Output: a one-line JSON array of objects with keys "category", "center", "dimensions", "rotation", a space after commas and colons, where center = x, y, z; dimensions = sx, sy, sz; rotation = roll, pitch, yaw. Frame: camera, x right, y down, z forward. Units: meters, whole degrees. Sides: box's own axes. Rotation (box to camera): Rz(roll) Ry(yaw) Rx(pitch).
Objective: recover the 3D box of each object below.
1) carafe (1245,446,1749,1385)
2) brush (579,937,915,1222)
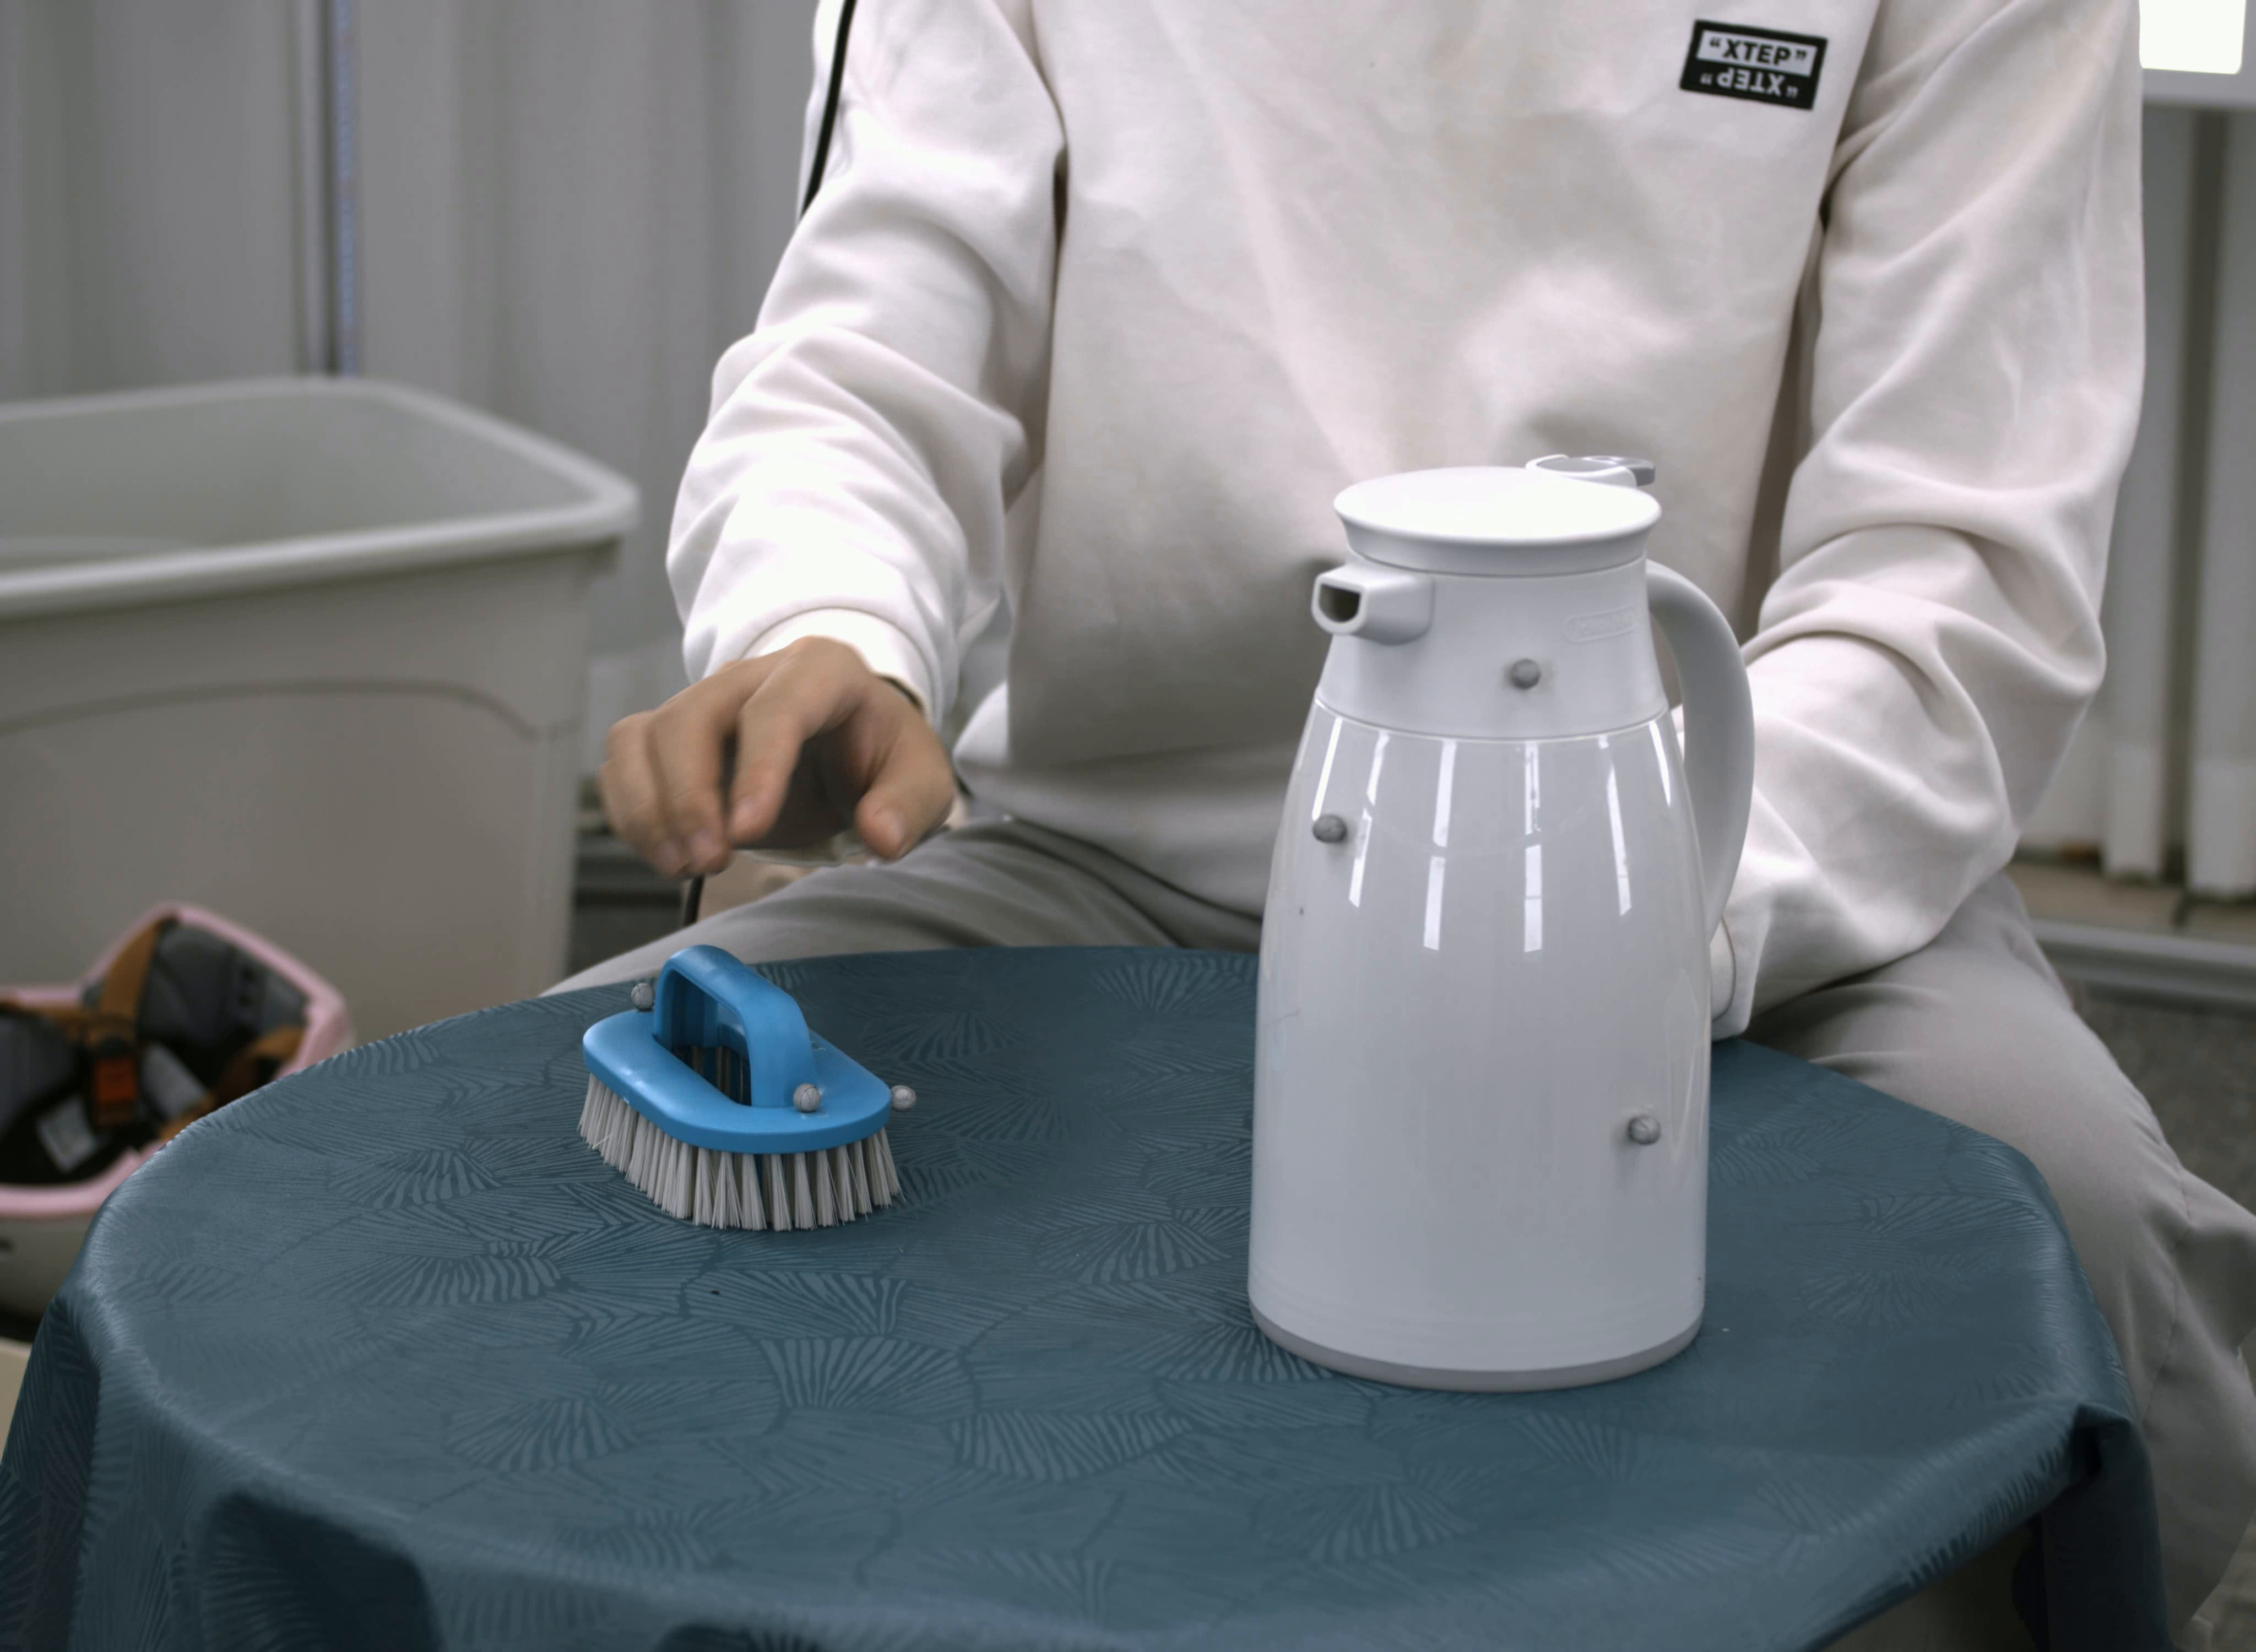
[{"category": "carafe", "center": [0.115, 0.017, 1.511], "dimensions": [0.168, 0.250, 0.131], "rotation": [-14, 21, -43]}, {"category": "brush", "center": [-0.122, 0.073, 1.643], "dimensions": [0.084, 0.064, 0.140], "rotation": [-11, 18, -22]}]
